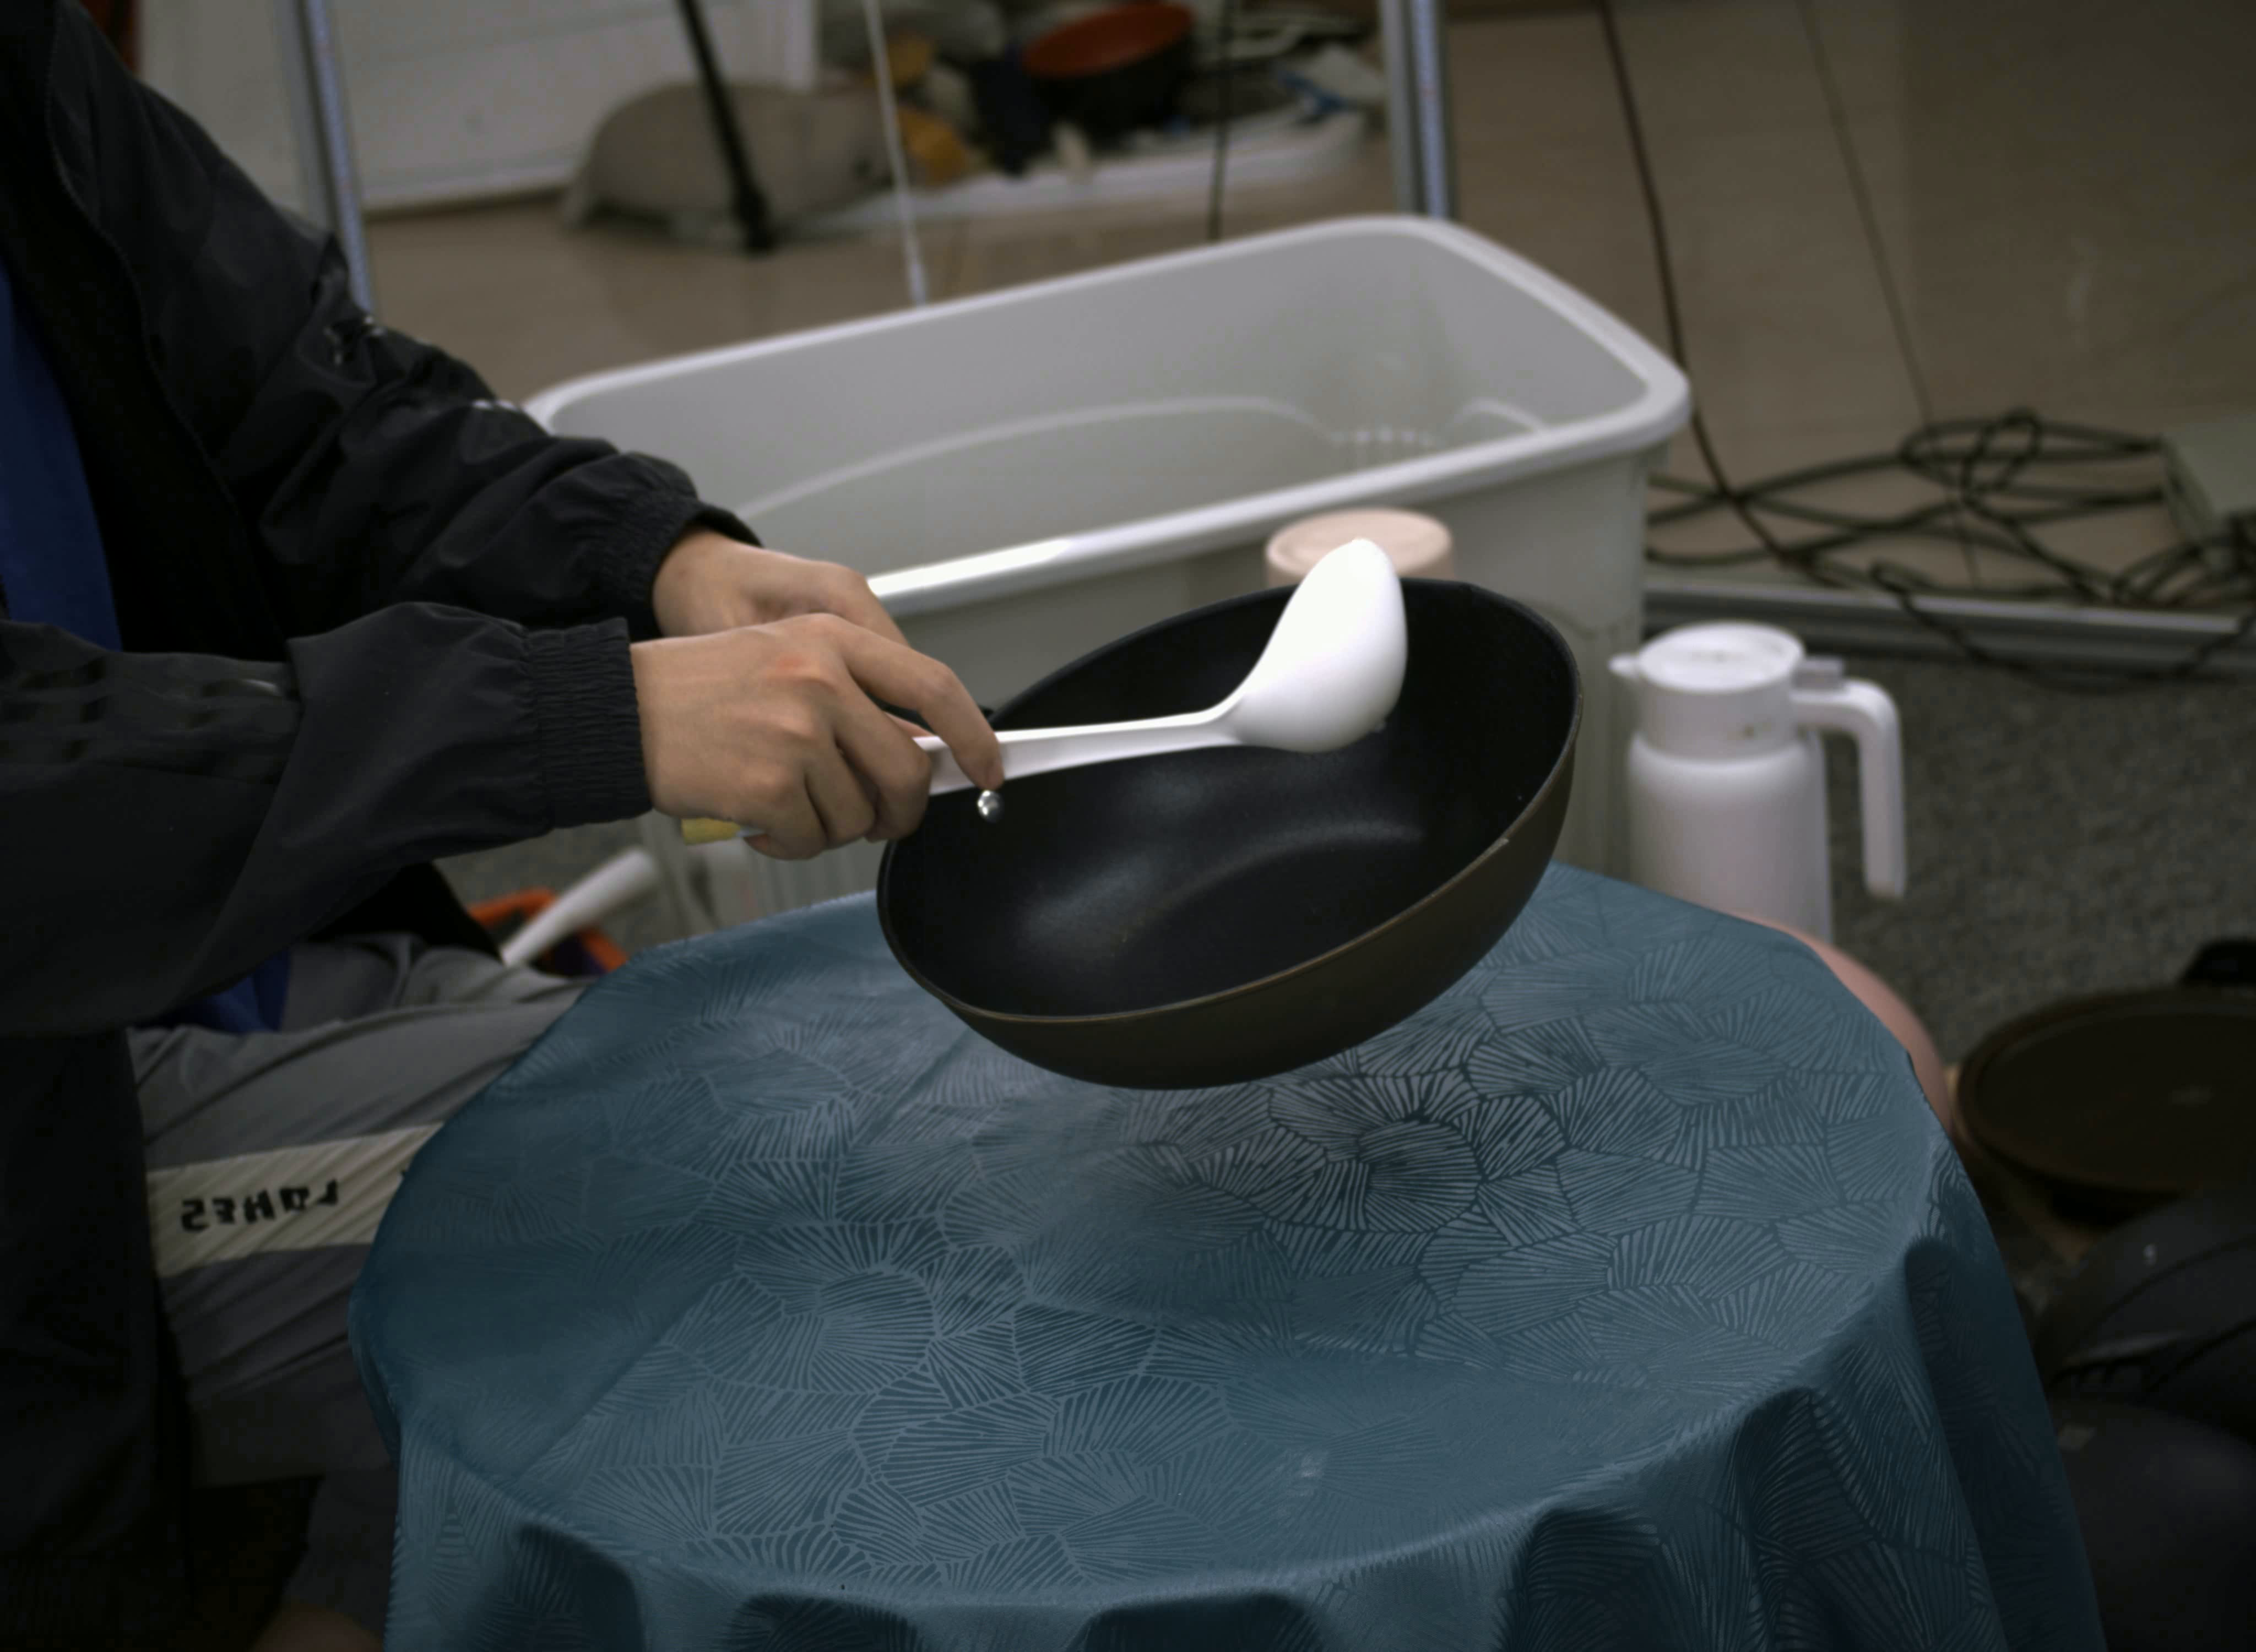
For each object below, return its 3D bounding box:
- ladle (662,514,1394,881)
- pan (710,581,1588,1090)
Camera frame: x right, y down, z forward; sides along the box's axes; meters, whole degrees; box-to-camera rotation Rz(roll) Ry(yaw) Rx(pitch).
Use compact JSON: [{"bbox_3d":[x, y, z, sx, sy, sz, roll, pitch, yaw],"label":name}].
[{"bbox_3d":[-0.036,-0.045,2.148,0.292,0.092,0.069,-15,52,0],"label":"ladle"},{"bbox_3d":[-0.011,-0.001,2.213,0.285,0.088,0.460,-40,34,-28],"label":"pan"}]
